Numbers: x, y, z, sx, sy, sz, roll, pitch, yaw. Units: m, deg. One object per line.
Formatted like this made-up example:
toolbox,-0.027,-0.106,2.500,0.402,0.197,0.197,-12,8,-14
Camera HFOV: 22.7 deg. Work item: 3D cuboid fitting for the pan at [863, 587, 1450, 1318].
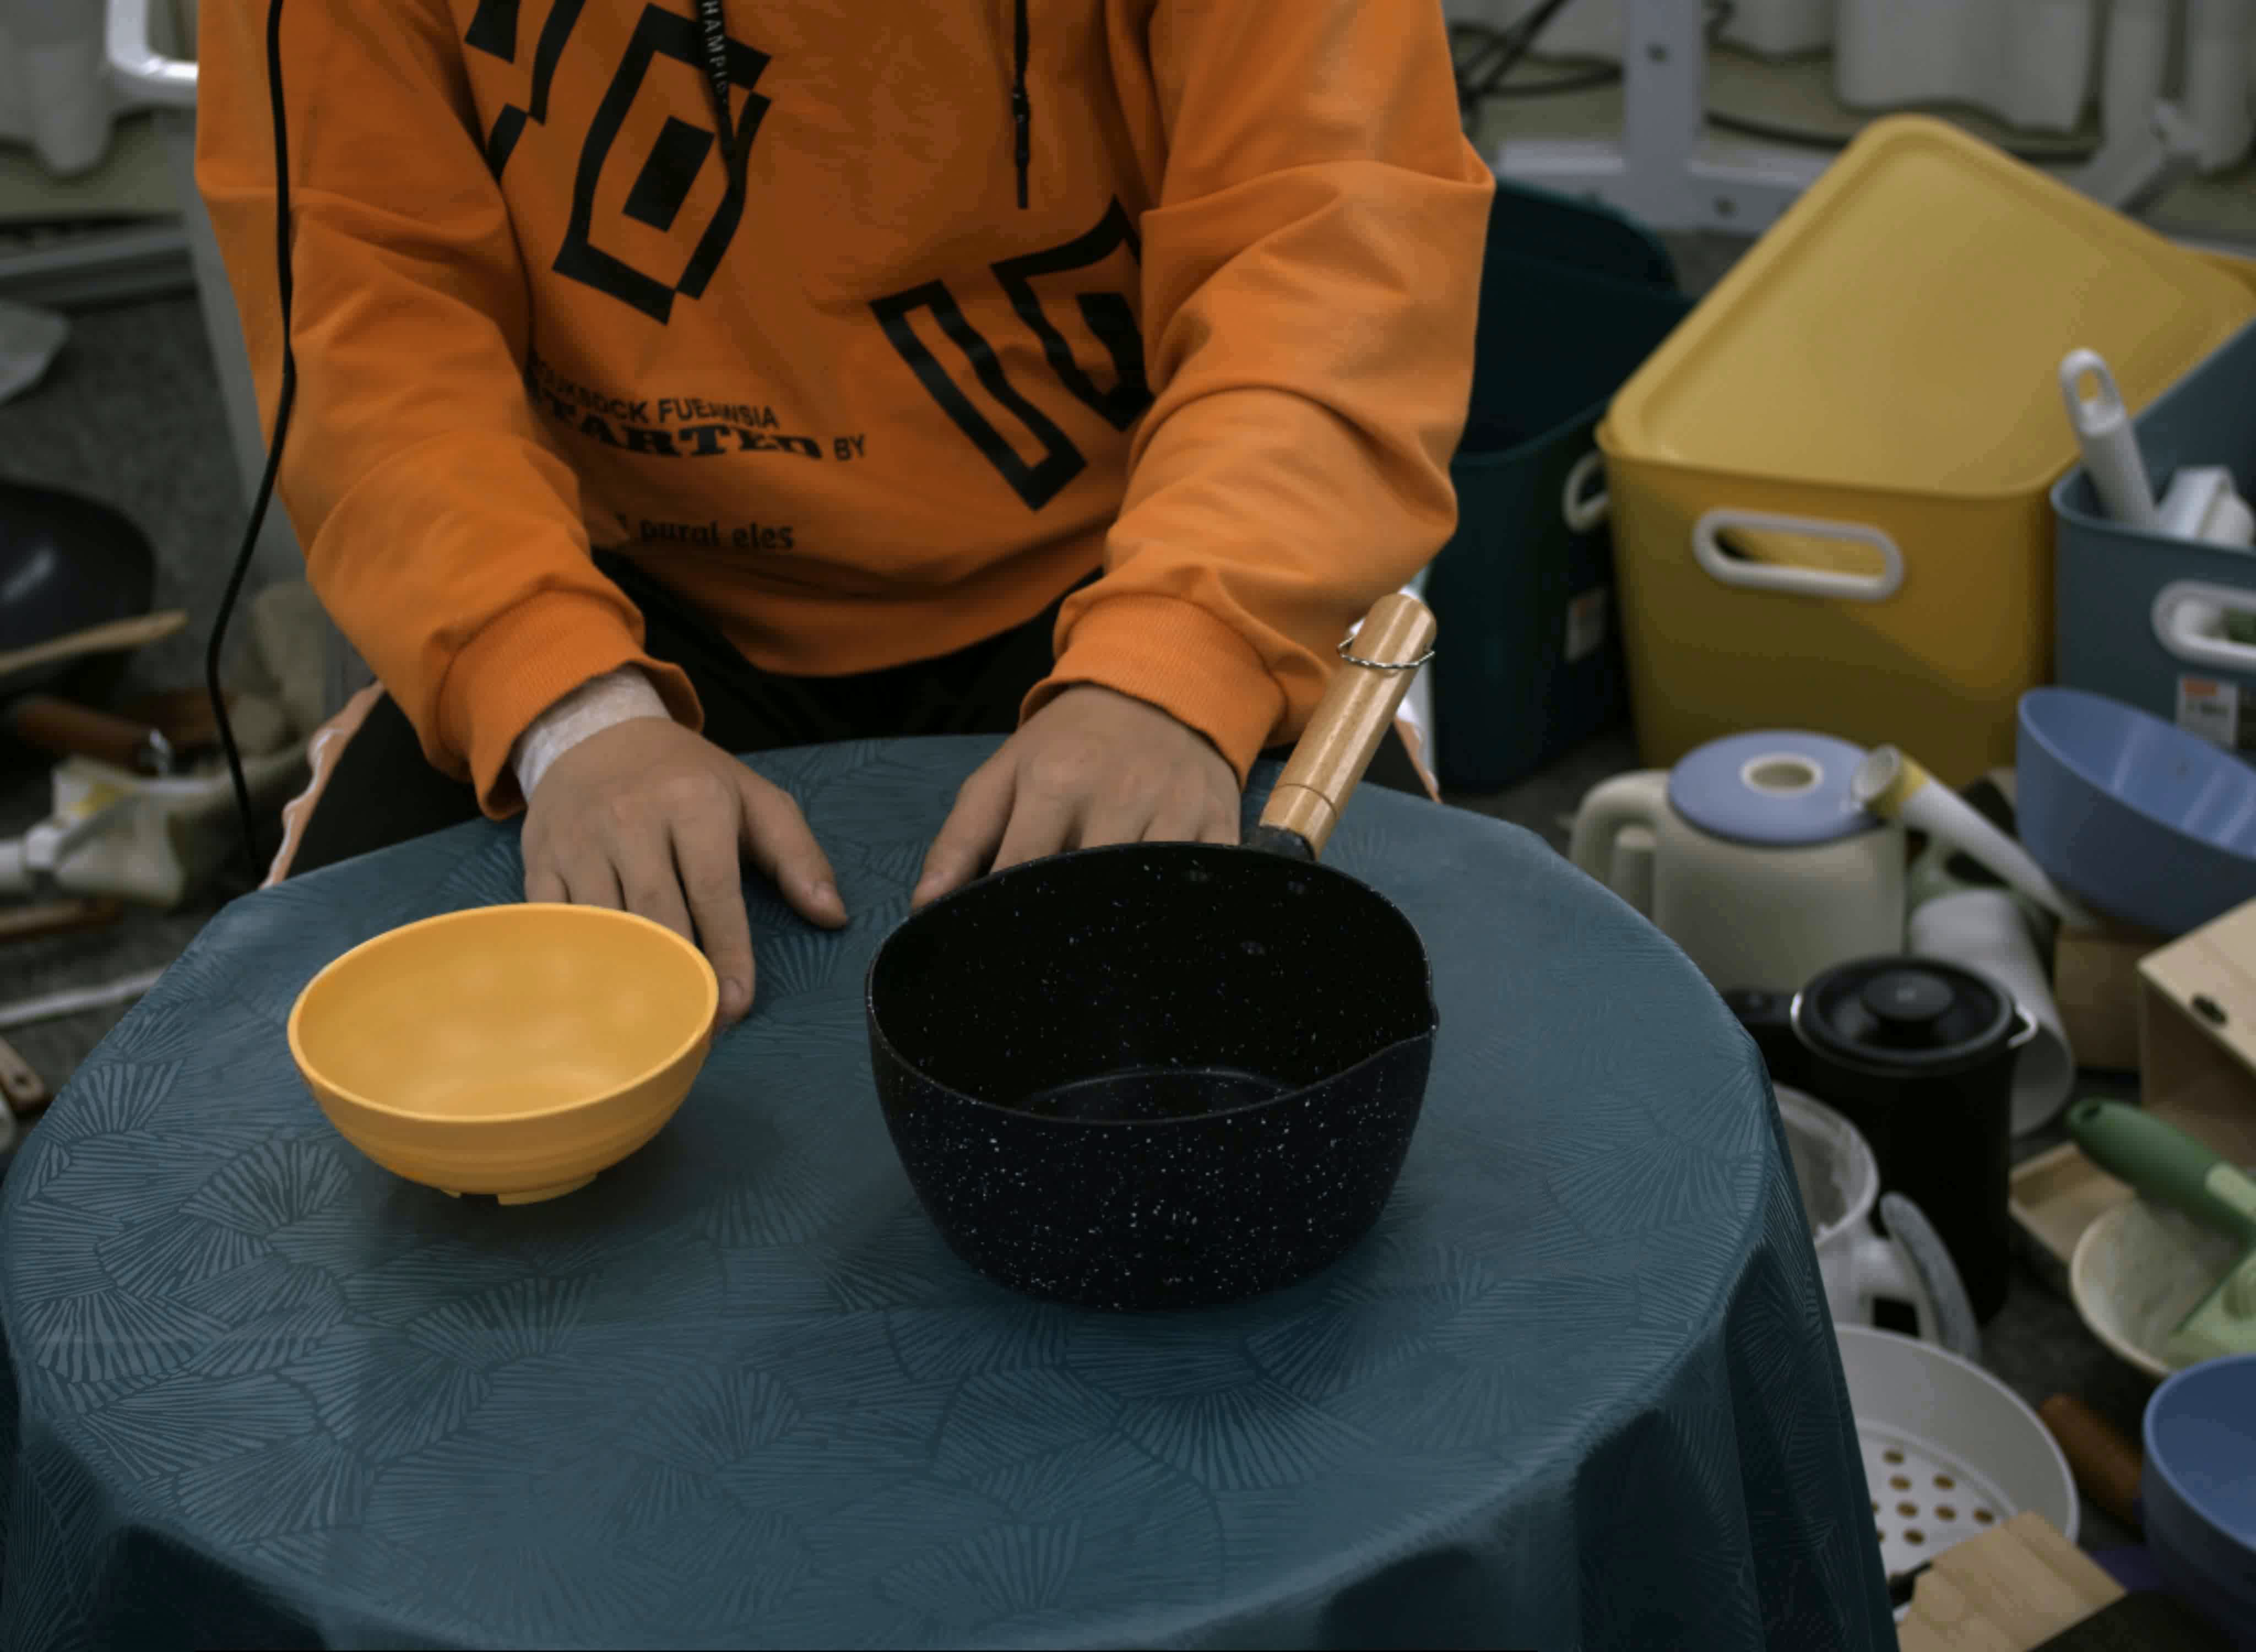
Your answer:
pan,0.037,0.039,1.902,0.206,0.107,0.349,6,30,21

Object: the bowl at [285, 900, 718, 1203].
bowl,-0.208,0.086,1.889,0.144,0.059,0.147,-1,28,1
